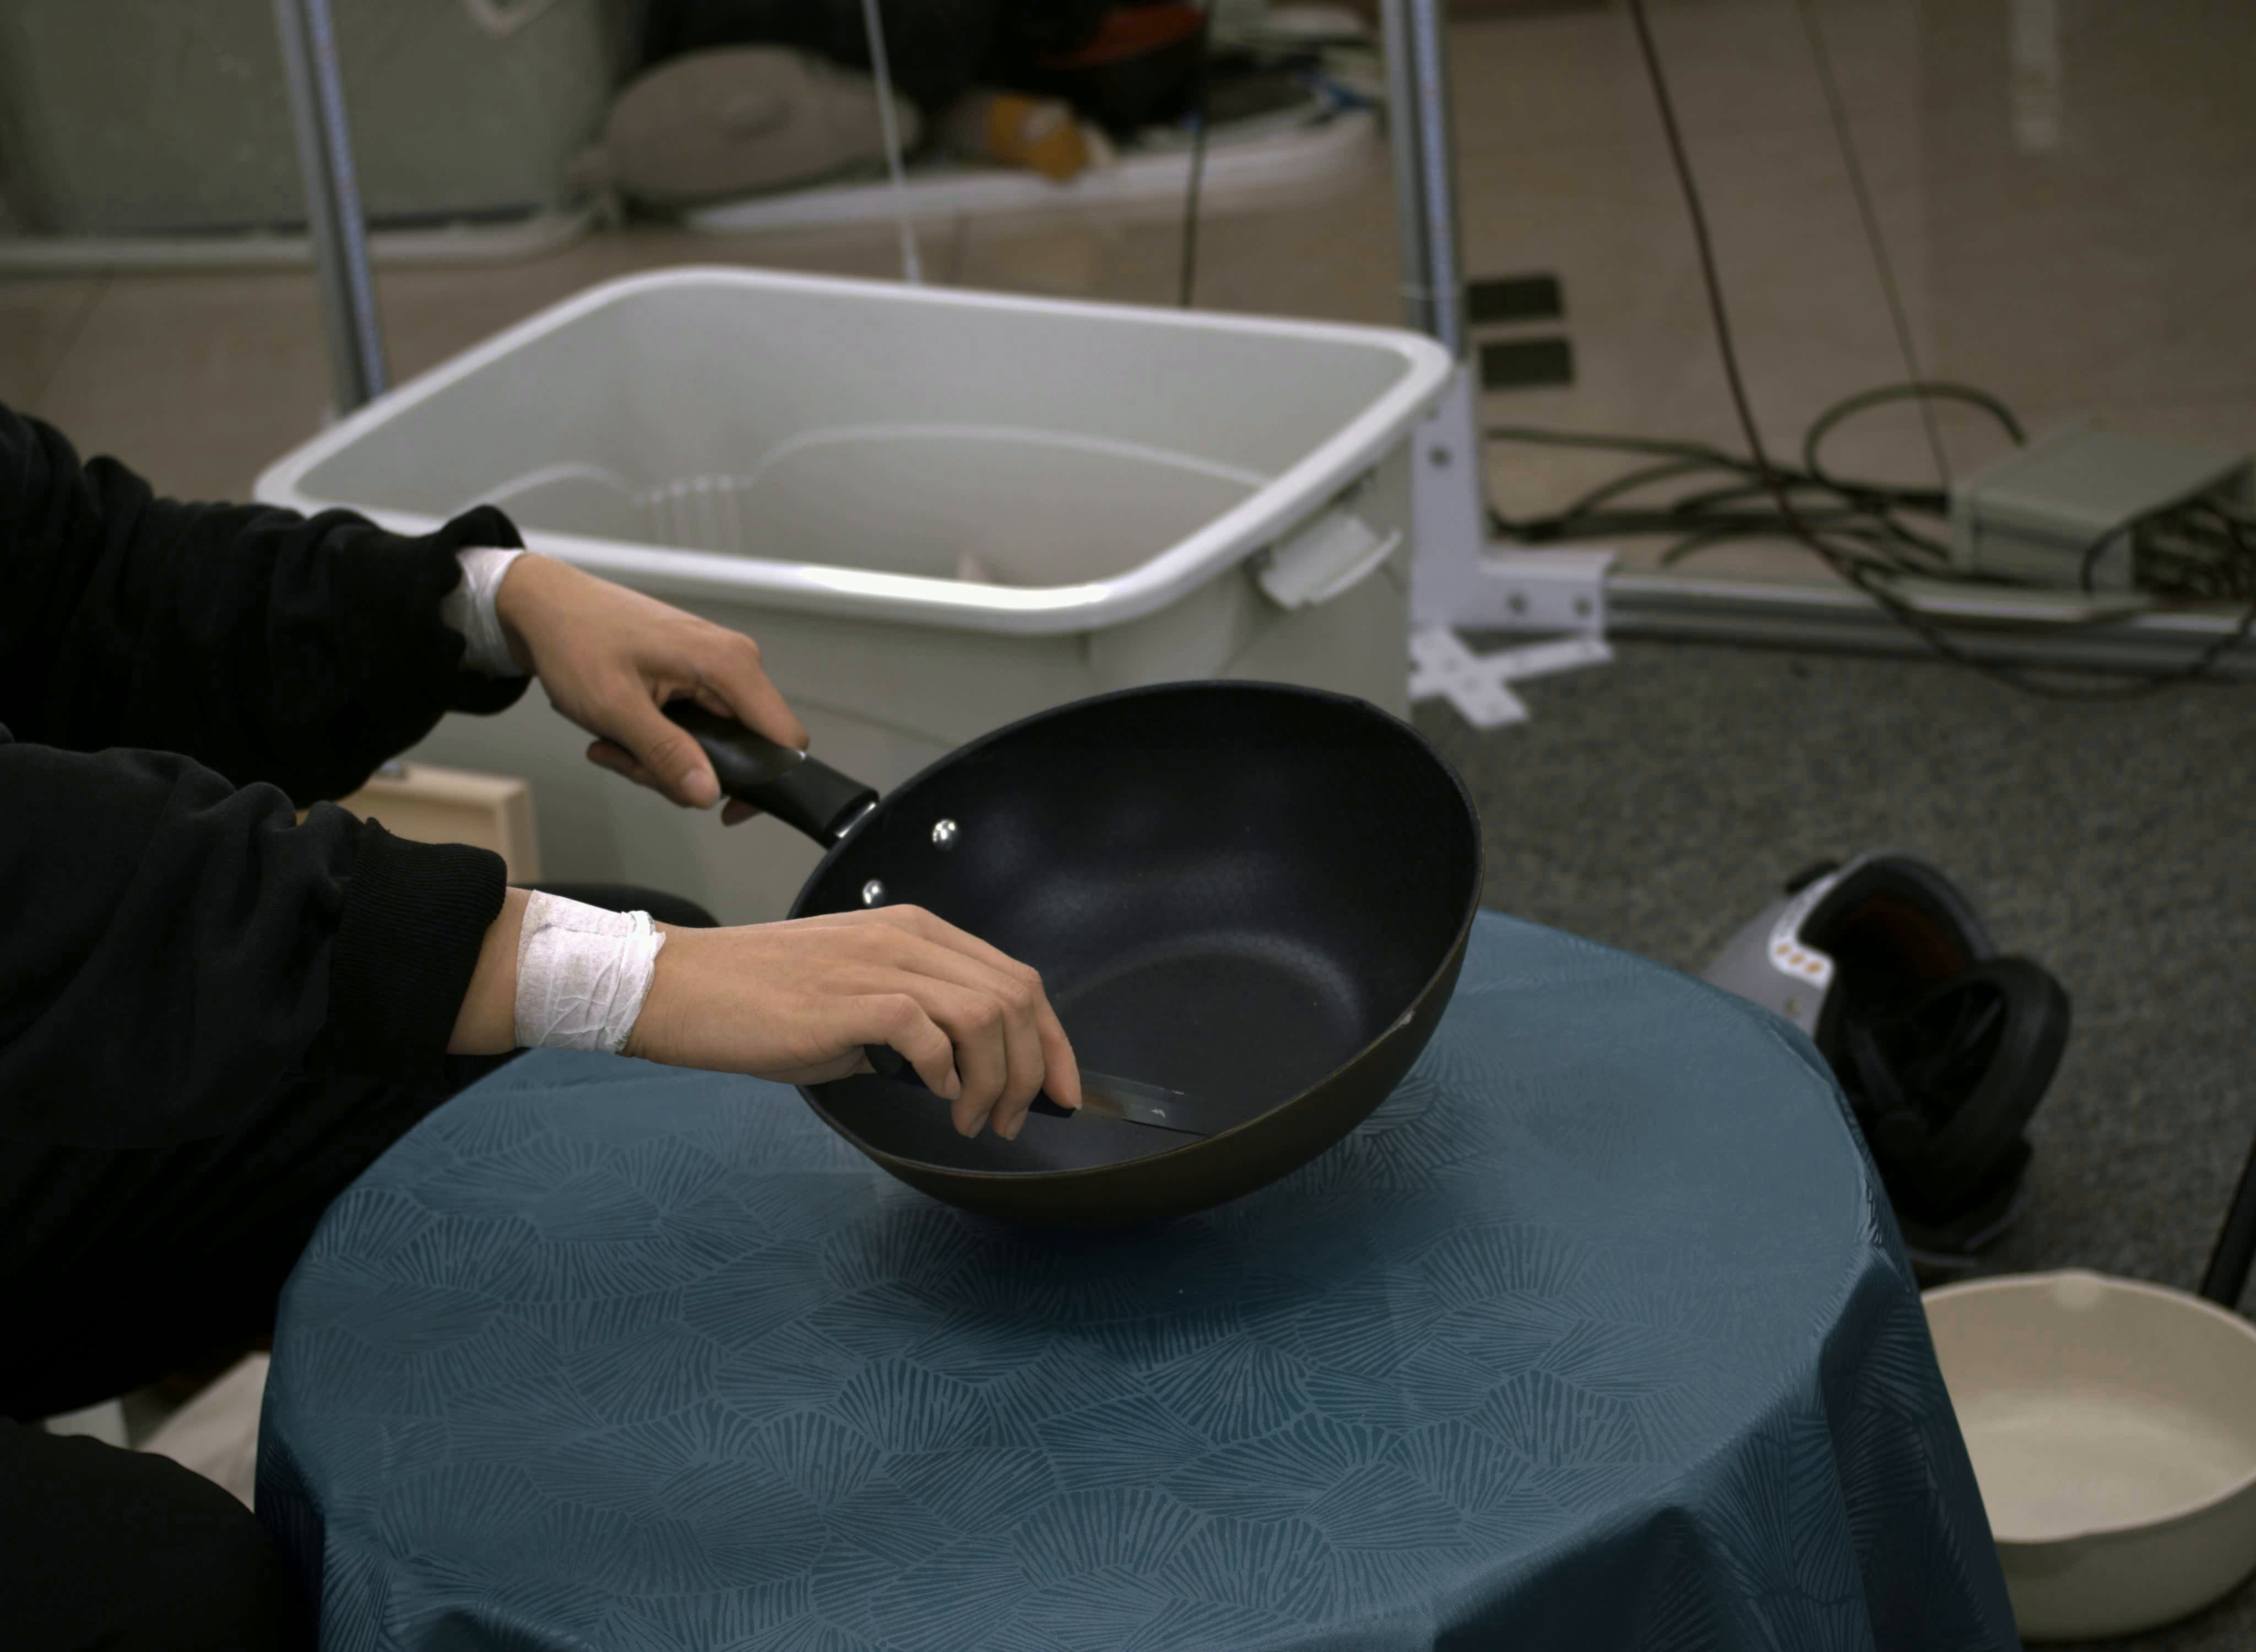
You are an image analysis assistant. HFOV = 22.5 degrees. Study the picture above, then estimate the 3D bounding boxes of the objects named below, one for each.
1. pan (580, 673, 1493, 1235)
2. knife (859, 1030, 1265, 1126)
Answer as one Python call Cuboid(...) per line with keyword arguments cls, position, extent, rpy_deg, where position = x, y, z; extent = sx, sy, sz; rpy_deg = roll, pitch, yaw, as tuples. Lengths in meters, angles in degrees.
Cuboid(cls="pan", position=(-0.055, 0.039, 2.224), extent=(0.459, 0.088, 0.285), rpy_deg=(22, 53, 40))
Cuboid(cls="knife", position=(-0.015, 0.093, 2.003), extent=(0.226, 0.017, 0.026), rpy_deg=(13, 32, -48))
